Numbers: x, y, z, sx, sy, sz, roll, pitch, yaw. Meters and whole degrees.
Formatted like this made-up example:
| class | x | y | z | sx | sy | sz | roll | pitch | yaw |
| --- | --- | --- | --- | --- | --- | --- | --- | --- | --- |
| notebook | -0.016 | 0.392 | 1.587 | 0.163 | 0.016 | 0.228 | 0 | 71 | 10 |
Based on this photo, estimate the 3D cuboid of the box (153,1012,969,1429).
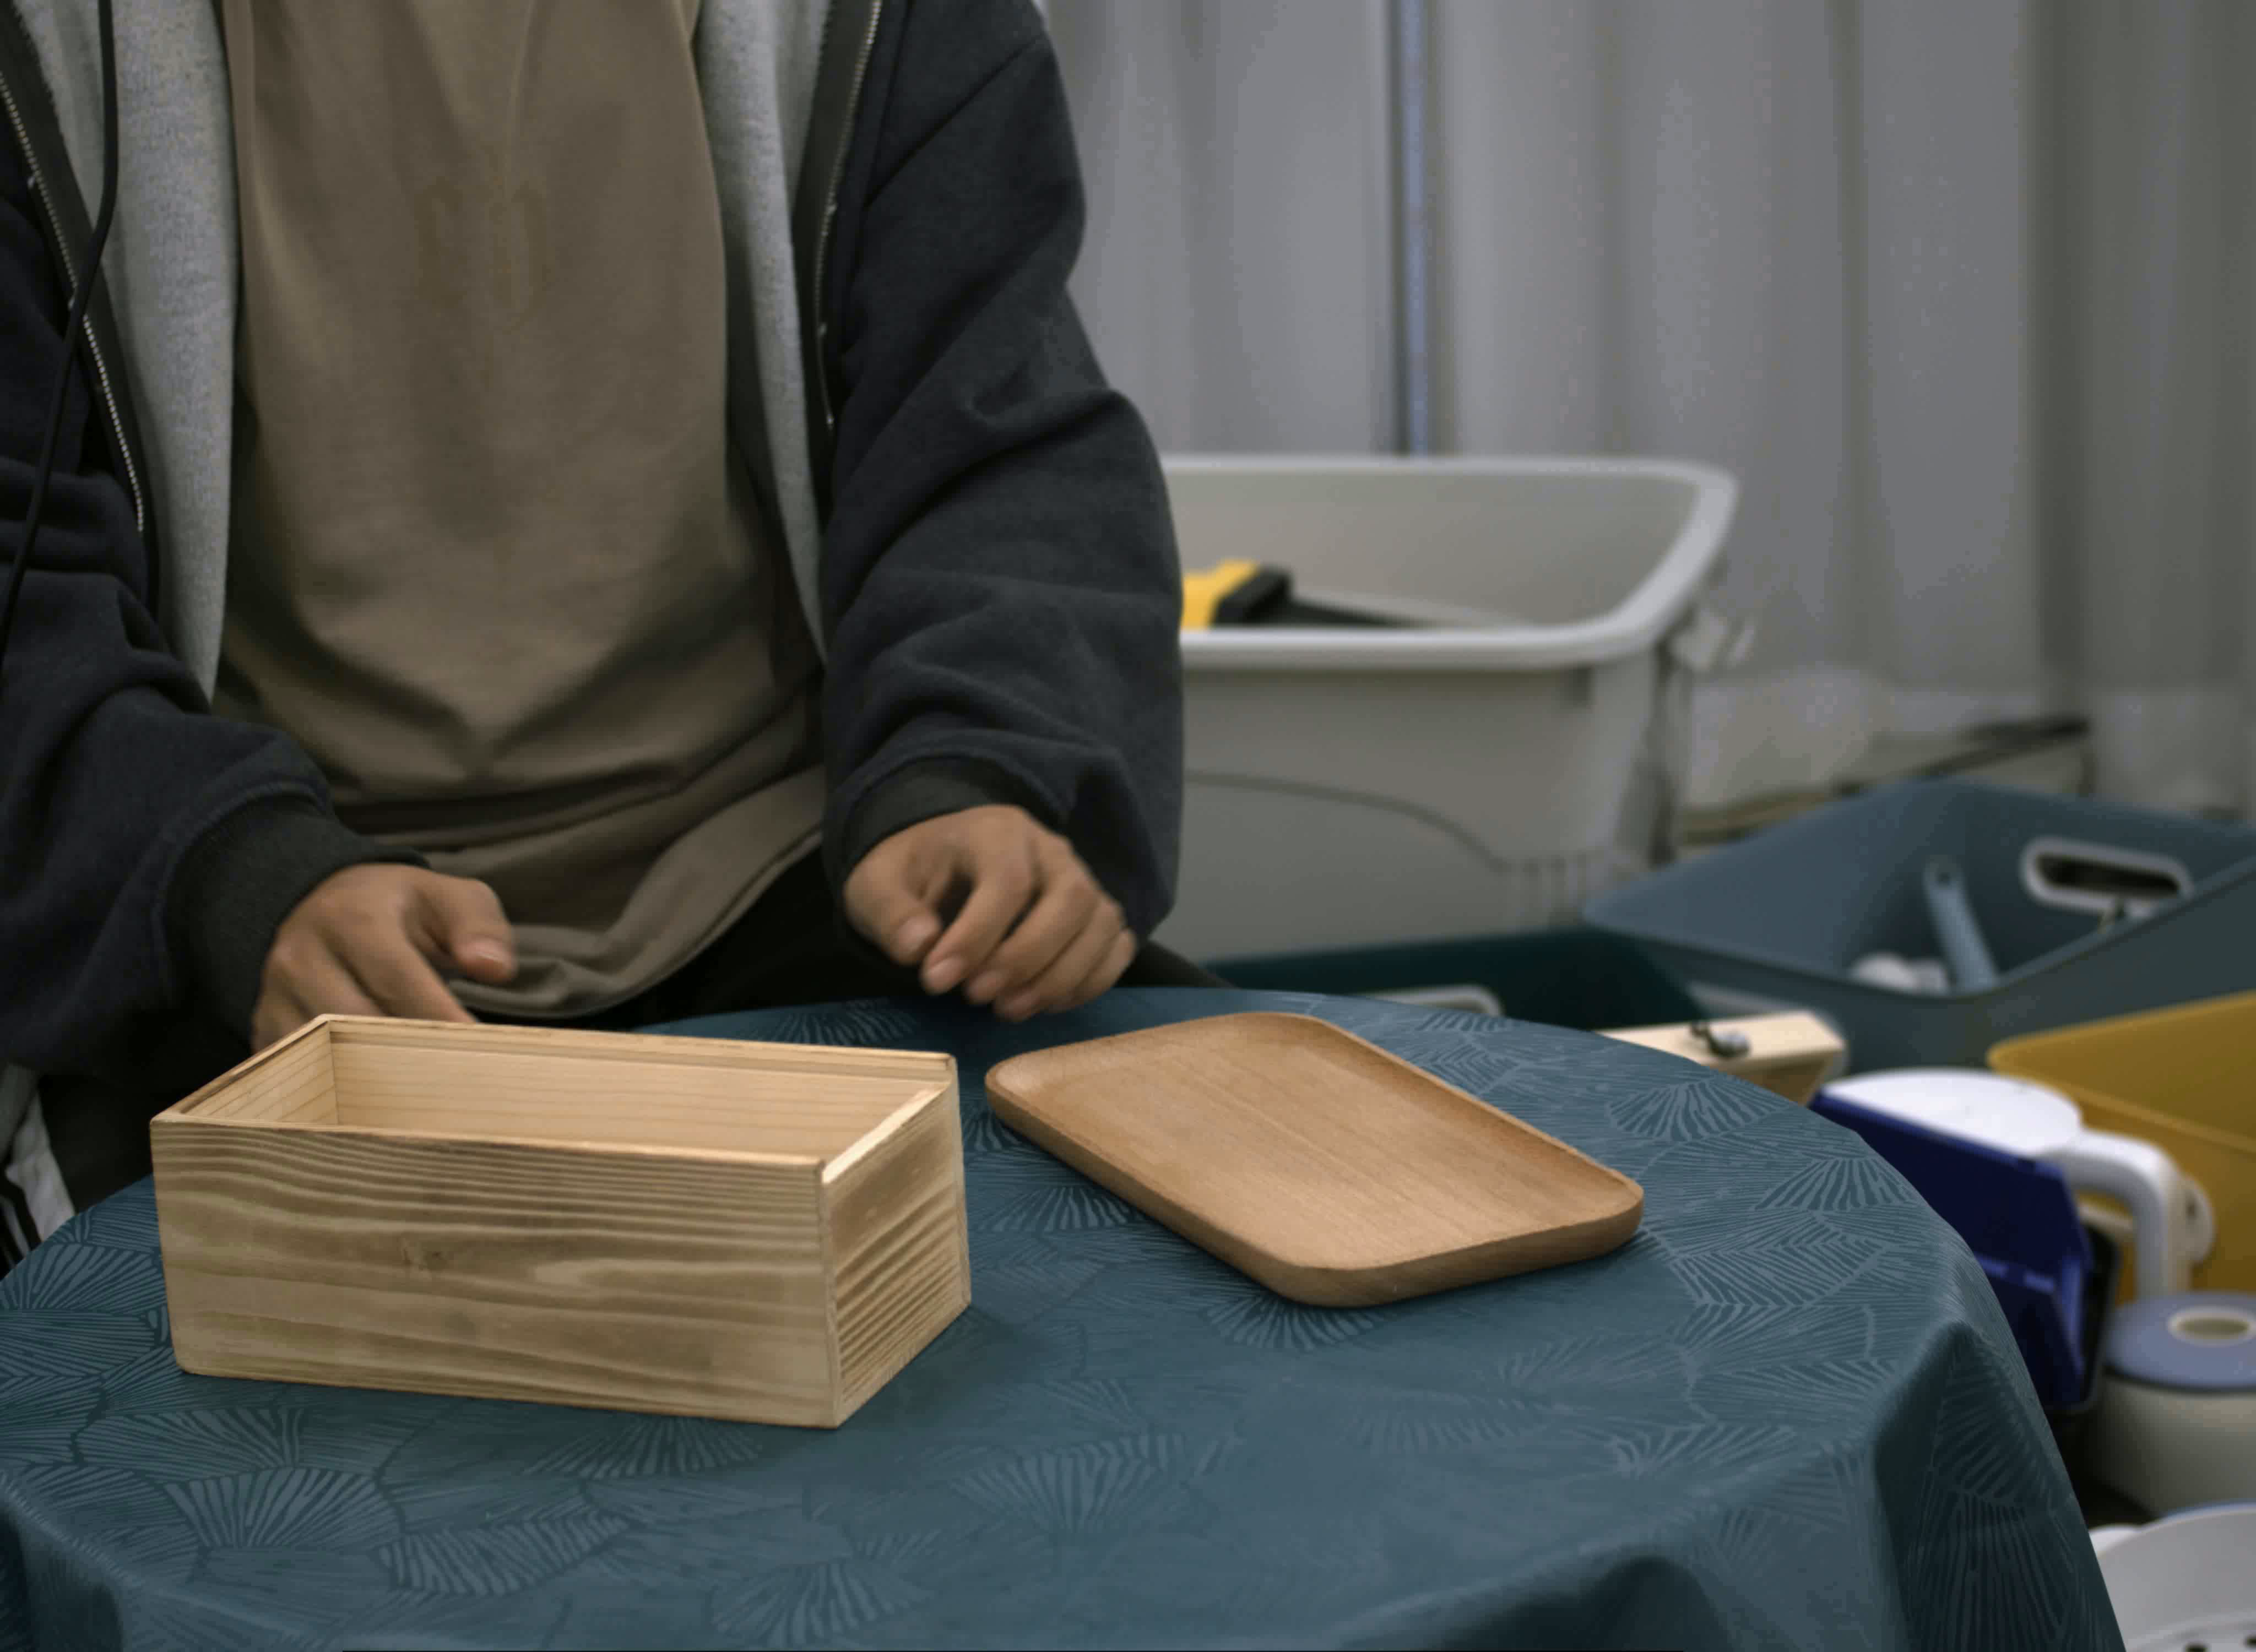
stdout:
| class | x | y | z | sx | sy | sz | roll | pitch | yaw |
| --- | --- | --- | --- | --- | --- | --- | --- | --- | --- |
| box | -0.165 | 0.113 | 1.602 | 0.211 | 0.080 | 0.108 | 3 | 15 | 20 |

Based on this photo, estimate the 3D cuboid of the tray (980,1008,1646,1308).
| class | x | y | z | sx | sy | sz | roll | pitch | yaw |
| --- | --- | --- | --- | --- | --- | --- | --- | --- | --- |
| tray | 0.054 | 0.102 | 1.720 | 0.130 | 0.023 | 0.252 | -7 | 15 | -24 |
